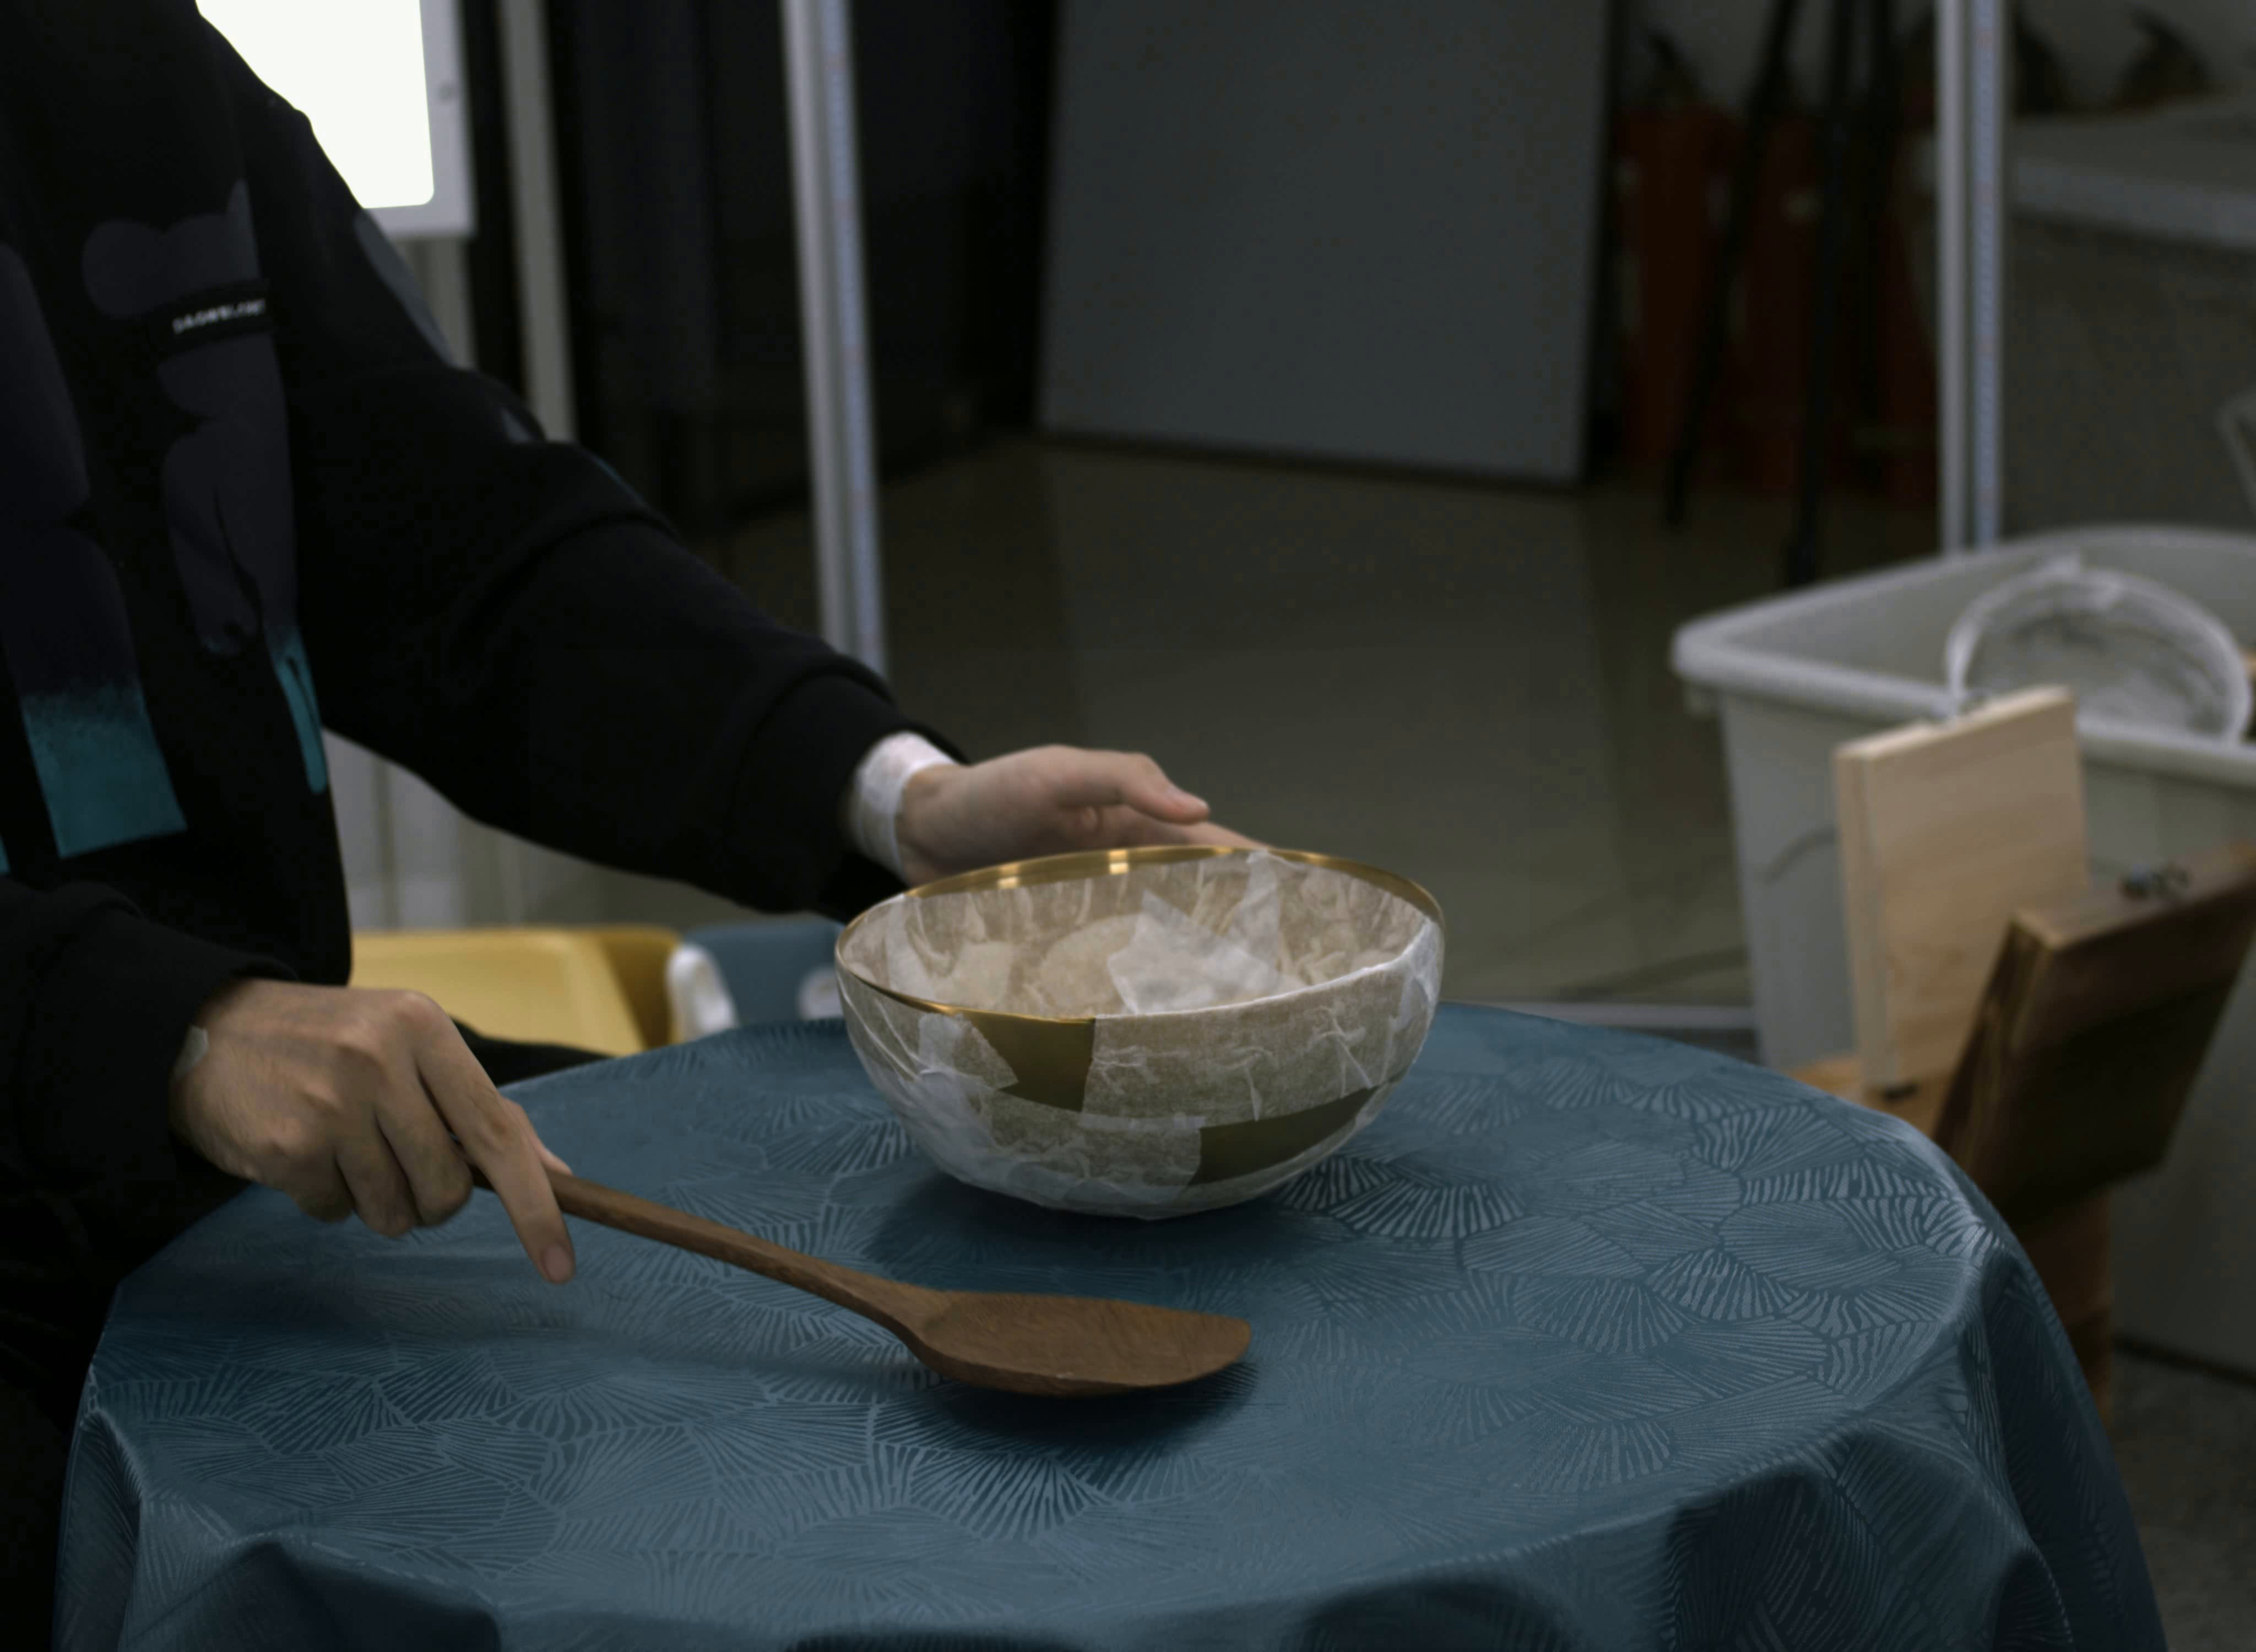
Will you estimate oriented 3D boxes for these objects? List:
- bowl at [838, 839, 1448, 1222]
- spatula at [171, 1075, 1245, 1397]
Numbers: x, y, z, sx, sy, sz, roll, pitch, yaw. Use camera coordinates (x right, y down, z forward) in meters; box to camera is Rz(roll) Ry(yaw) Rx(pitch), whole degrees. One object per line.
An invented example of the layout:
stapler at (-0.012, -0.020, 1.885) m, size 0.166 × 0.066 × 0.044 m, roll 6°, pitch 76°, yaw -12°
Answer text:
bowl at (0.007, 0.073, 1.766) m, size 0.212 × 0.095 × 0.215 m, roll -6°, pitch 14°, yaw 1°
spatula at (-0.141, 0.121, 1.652) m, size 0.387 × 0.016 × 0.094 m, roll 14°, pitch 15°, yaw 29°
